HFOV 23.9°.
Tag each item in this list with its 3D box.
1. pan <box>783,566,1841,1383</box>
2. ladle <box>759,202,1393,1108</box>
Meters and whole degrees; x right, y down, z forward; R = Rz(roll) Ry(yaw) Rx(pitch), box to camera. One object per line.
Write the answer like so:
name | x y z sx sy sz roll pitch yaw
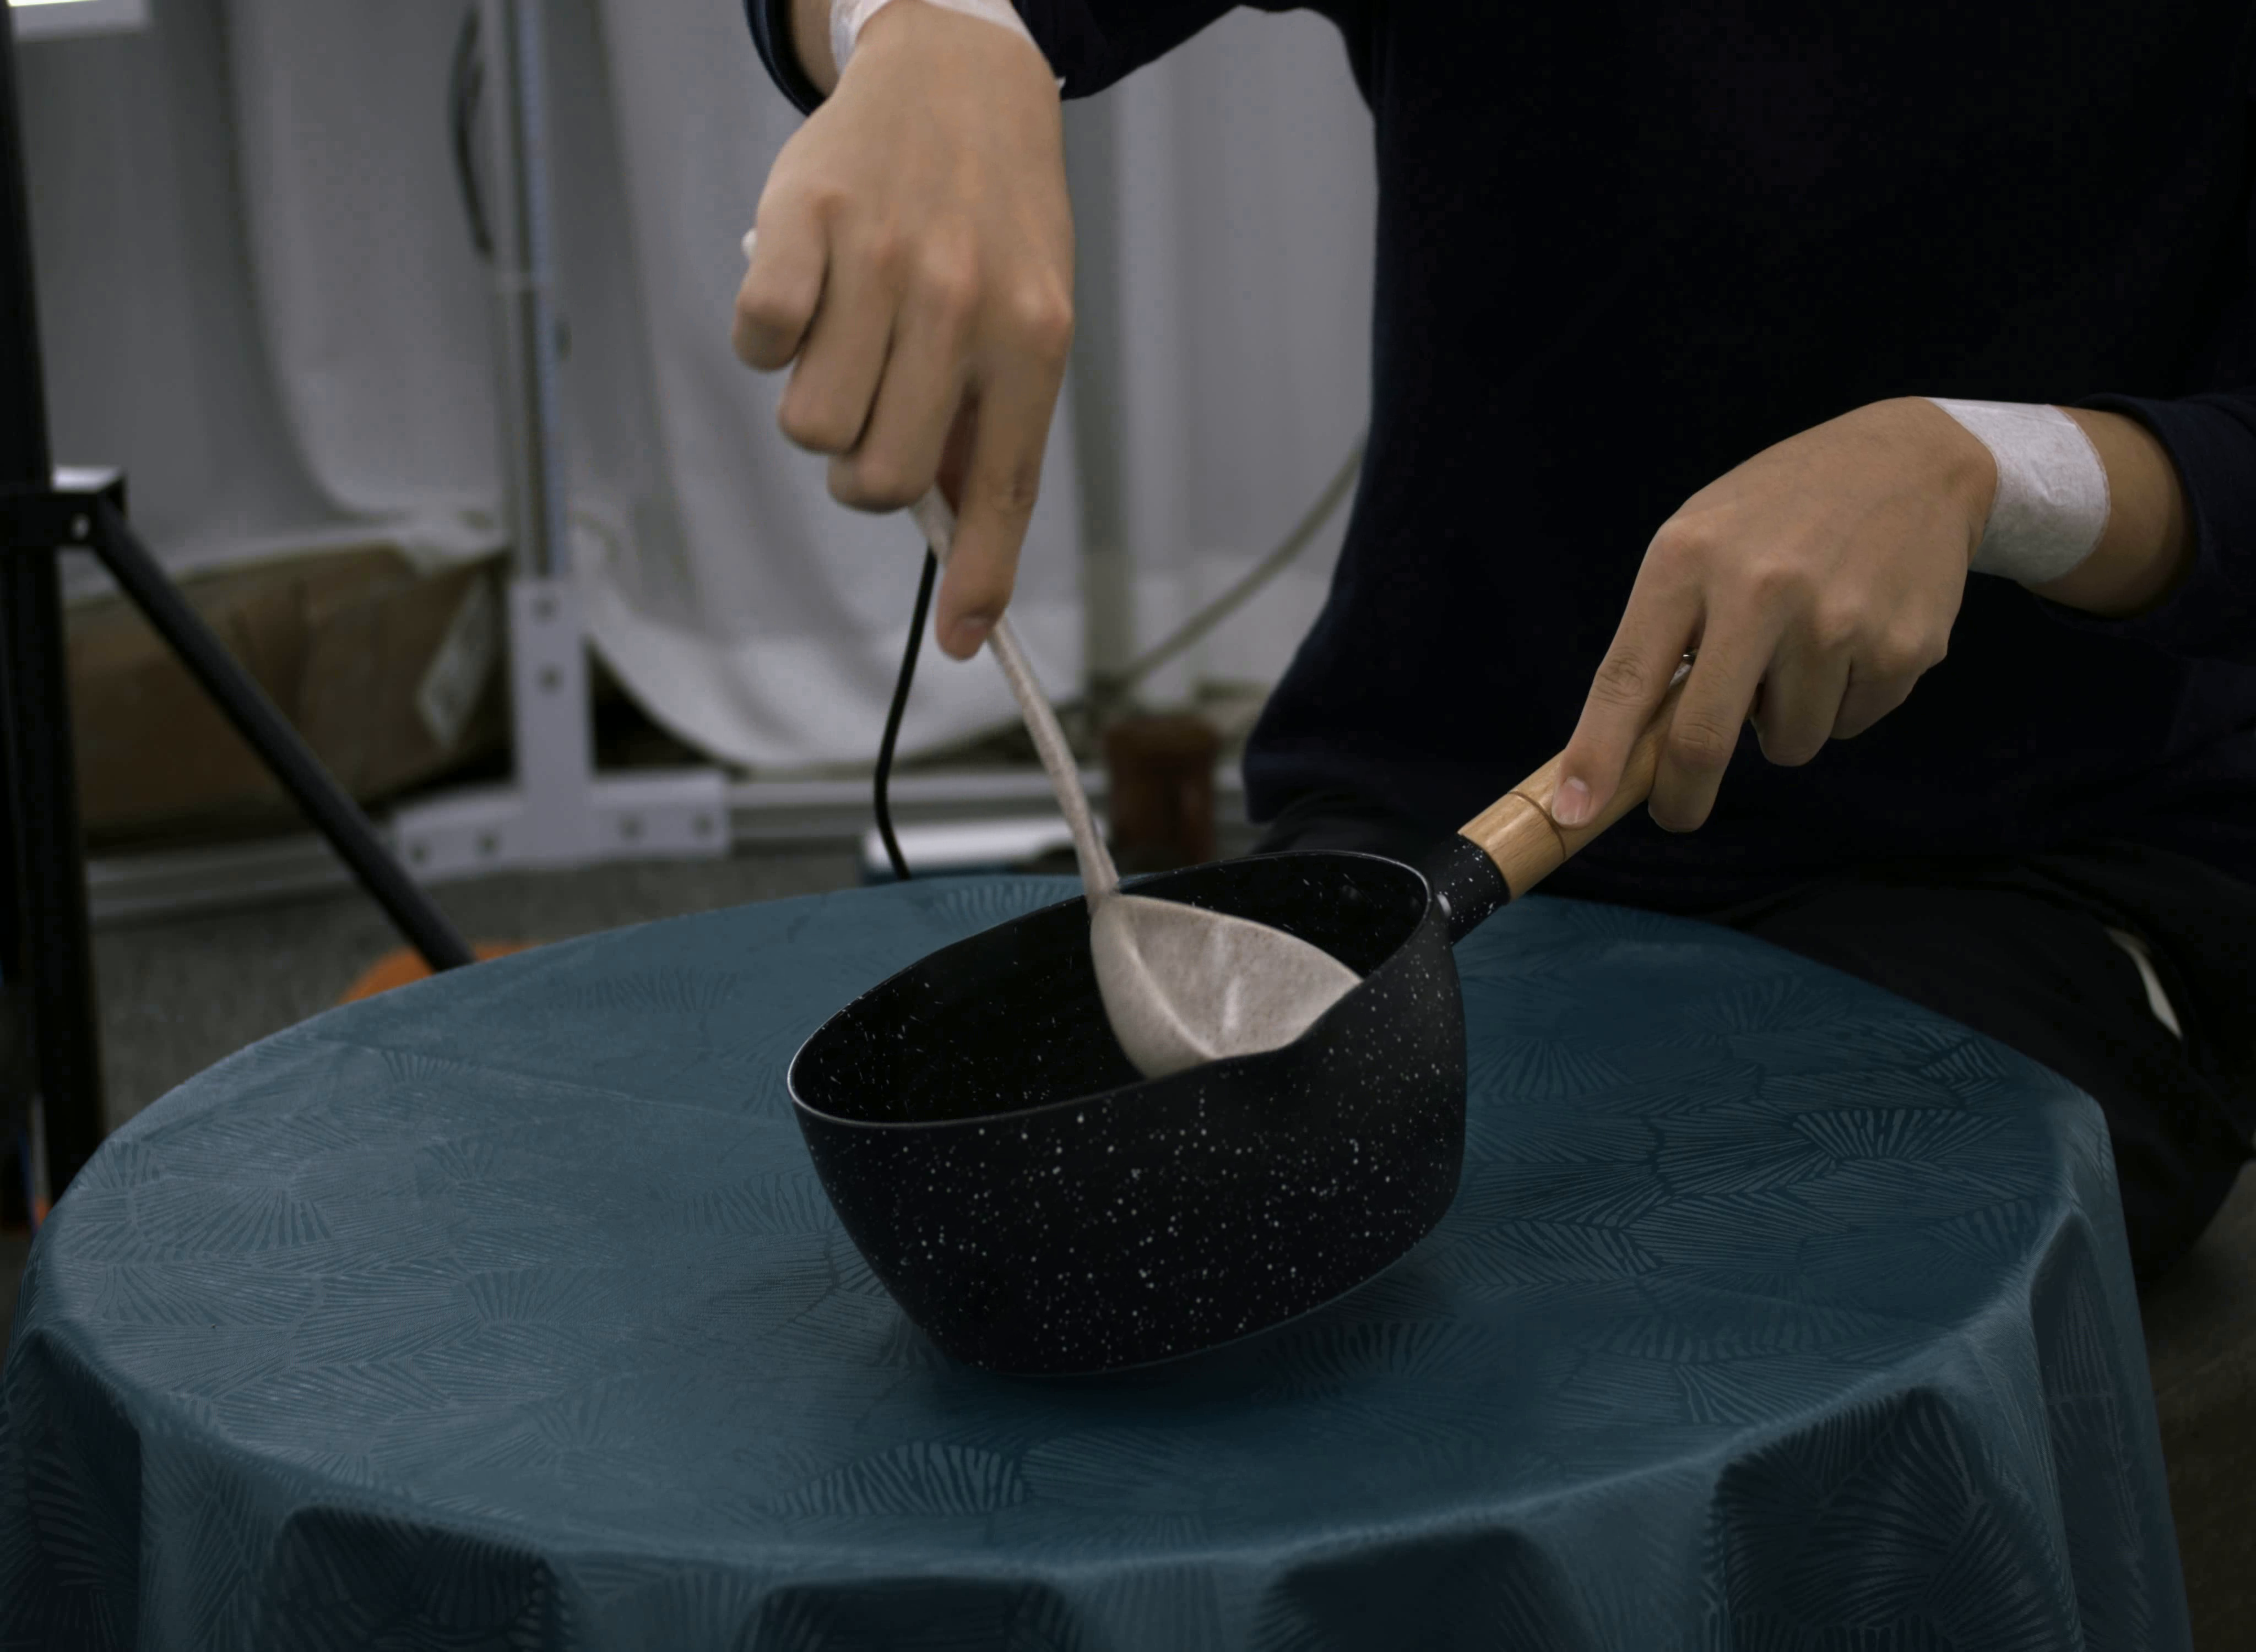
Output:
pan | 0.069 0.040 1.471 0.337 0.108 0.211 -25 16 -23
ladle | -0.010 -0.046 1.355 0.070 0.272 0.090 -18 22 12
